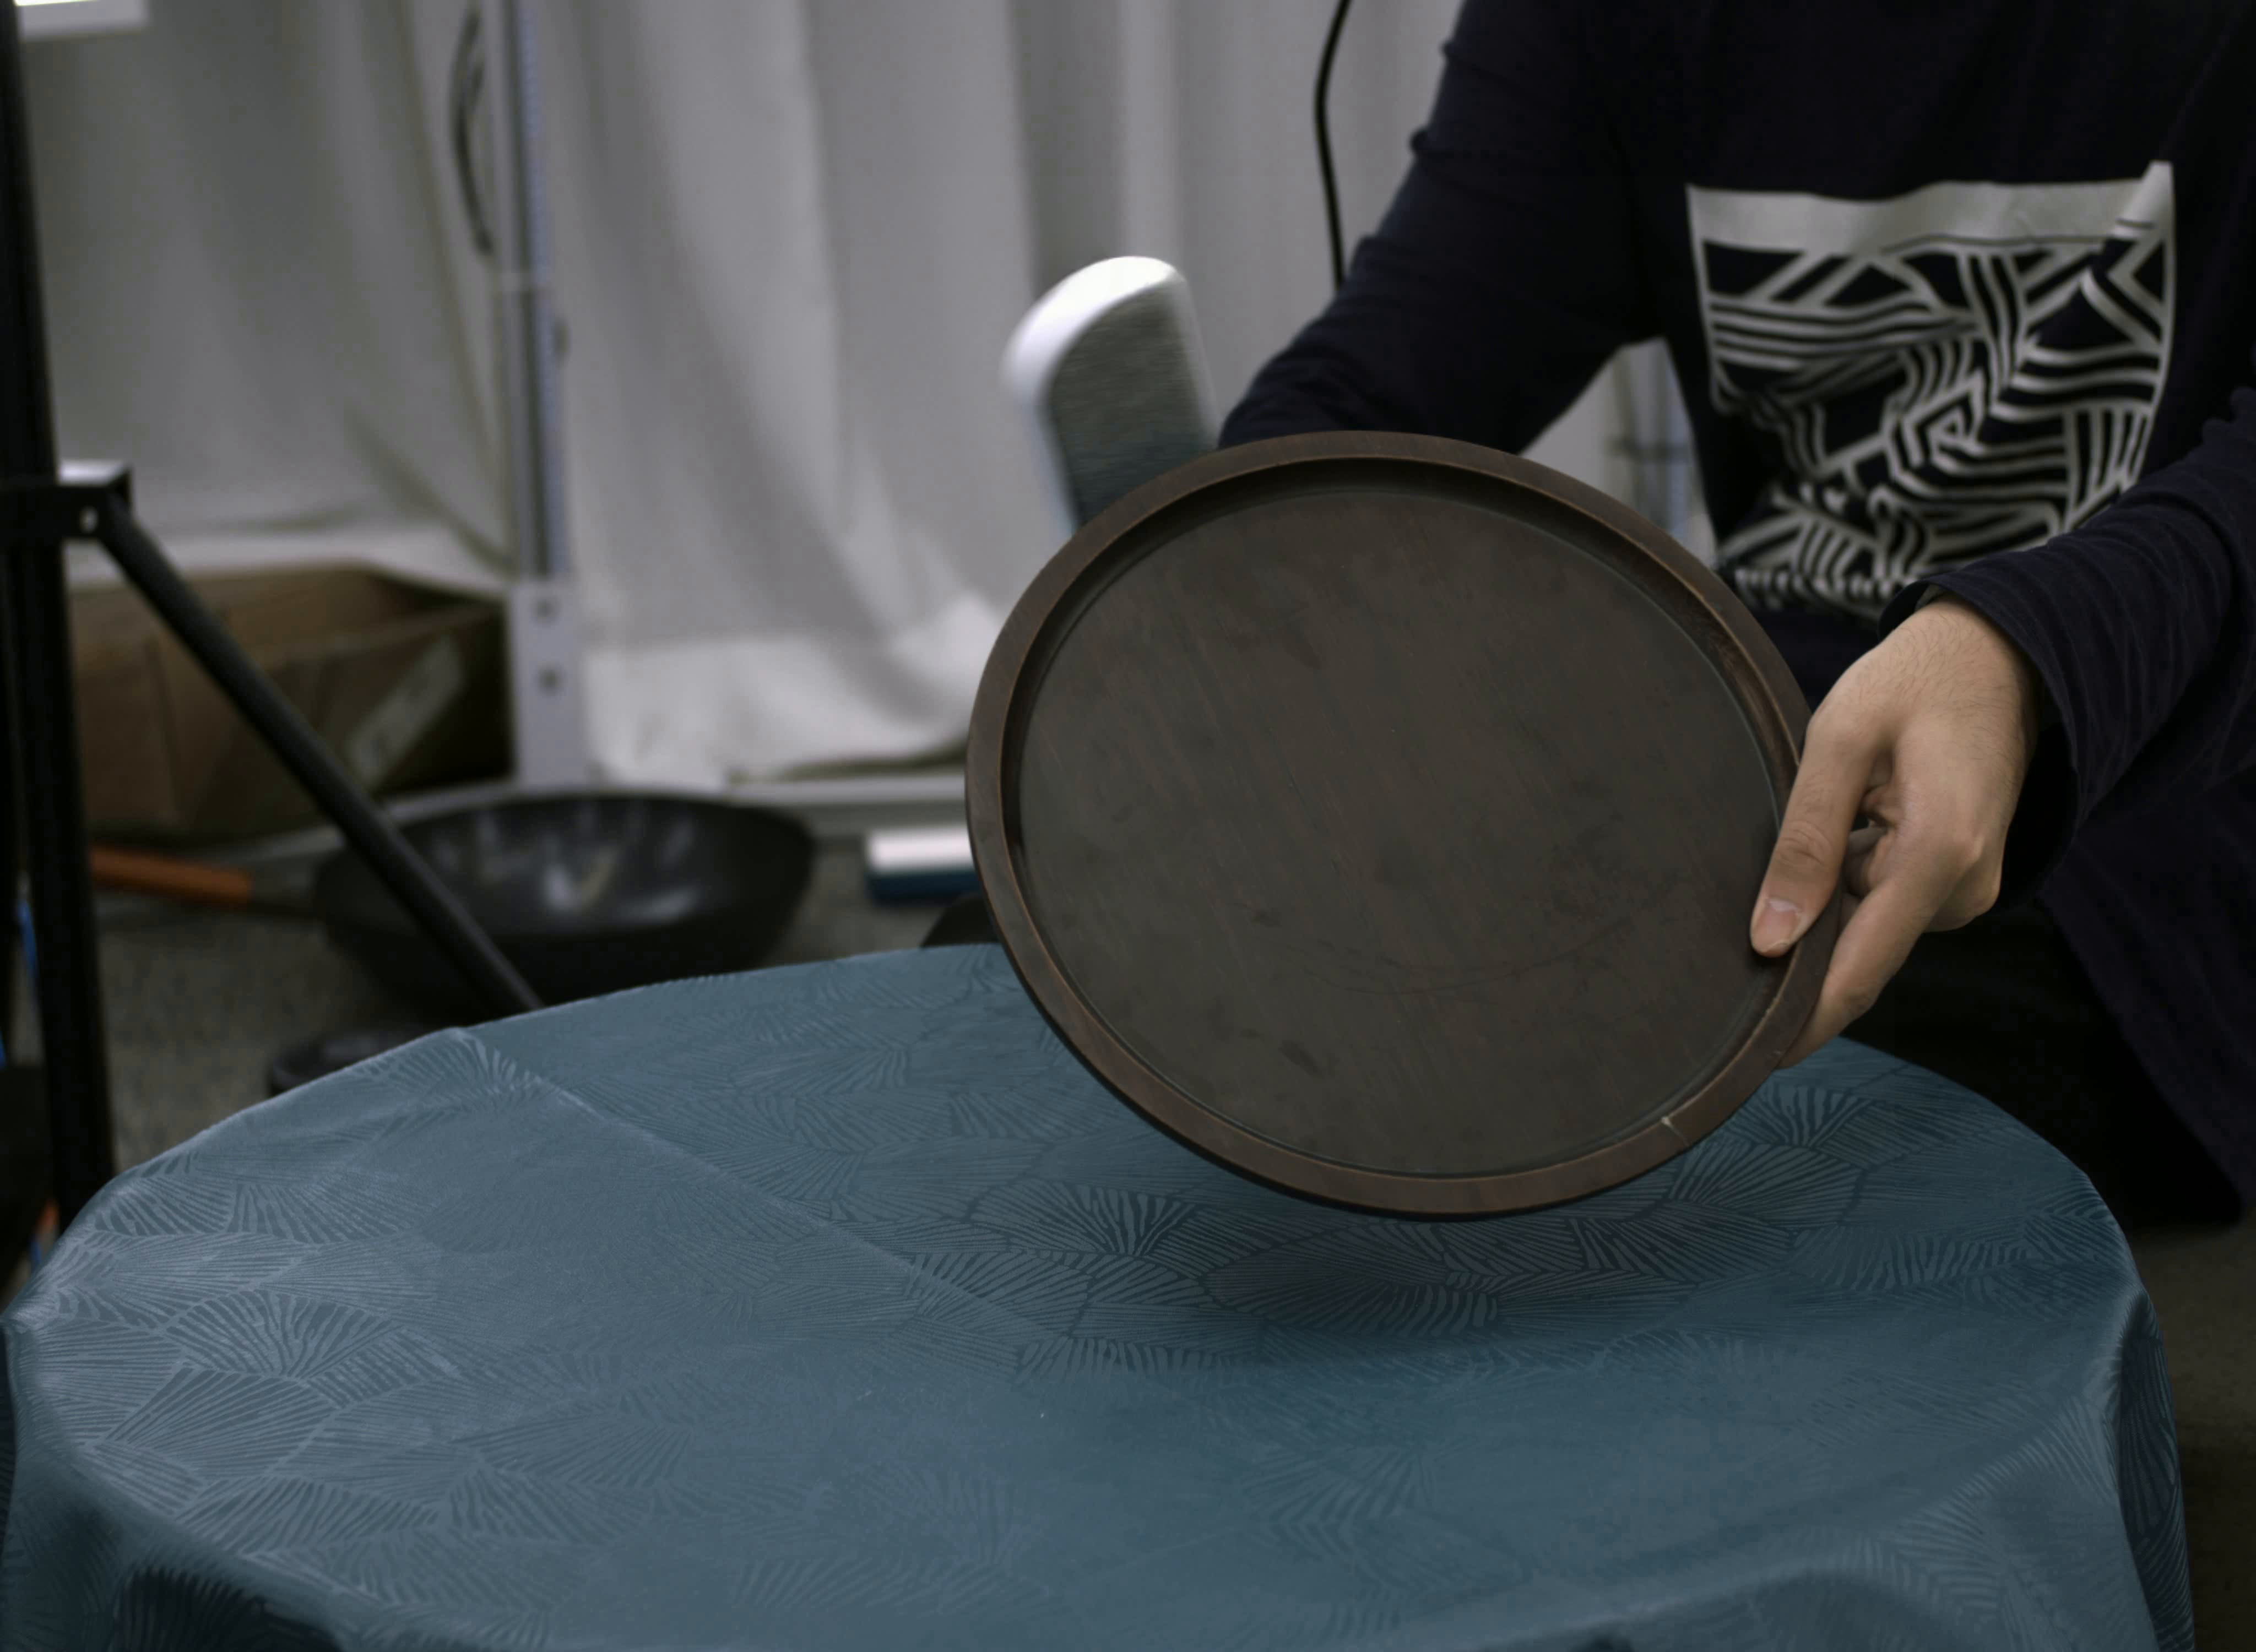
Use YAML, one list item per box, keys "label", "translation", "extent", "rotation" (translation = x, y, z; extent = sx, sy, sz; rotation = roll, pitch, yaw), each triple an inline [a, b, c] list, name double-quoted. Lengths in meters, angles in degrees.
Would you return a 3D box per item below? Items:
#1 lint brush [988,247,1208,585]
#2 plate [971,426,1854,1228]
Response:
- label: "lint brush"
  translation: [0.005, -0.087, 1.640]
  extent: [0.060, 0.305, 0.021]
  rotation: [-42, 65, -11]
- label: "plate"
  translation: [0.079, -0.001, 1.497]
  extent: [0.251, 0.258, 0.029]
  rotation: [-6, -27, -11]
